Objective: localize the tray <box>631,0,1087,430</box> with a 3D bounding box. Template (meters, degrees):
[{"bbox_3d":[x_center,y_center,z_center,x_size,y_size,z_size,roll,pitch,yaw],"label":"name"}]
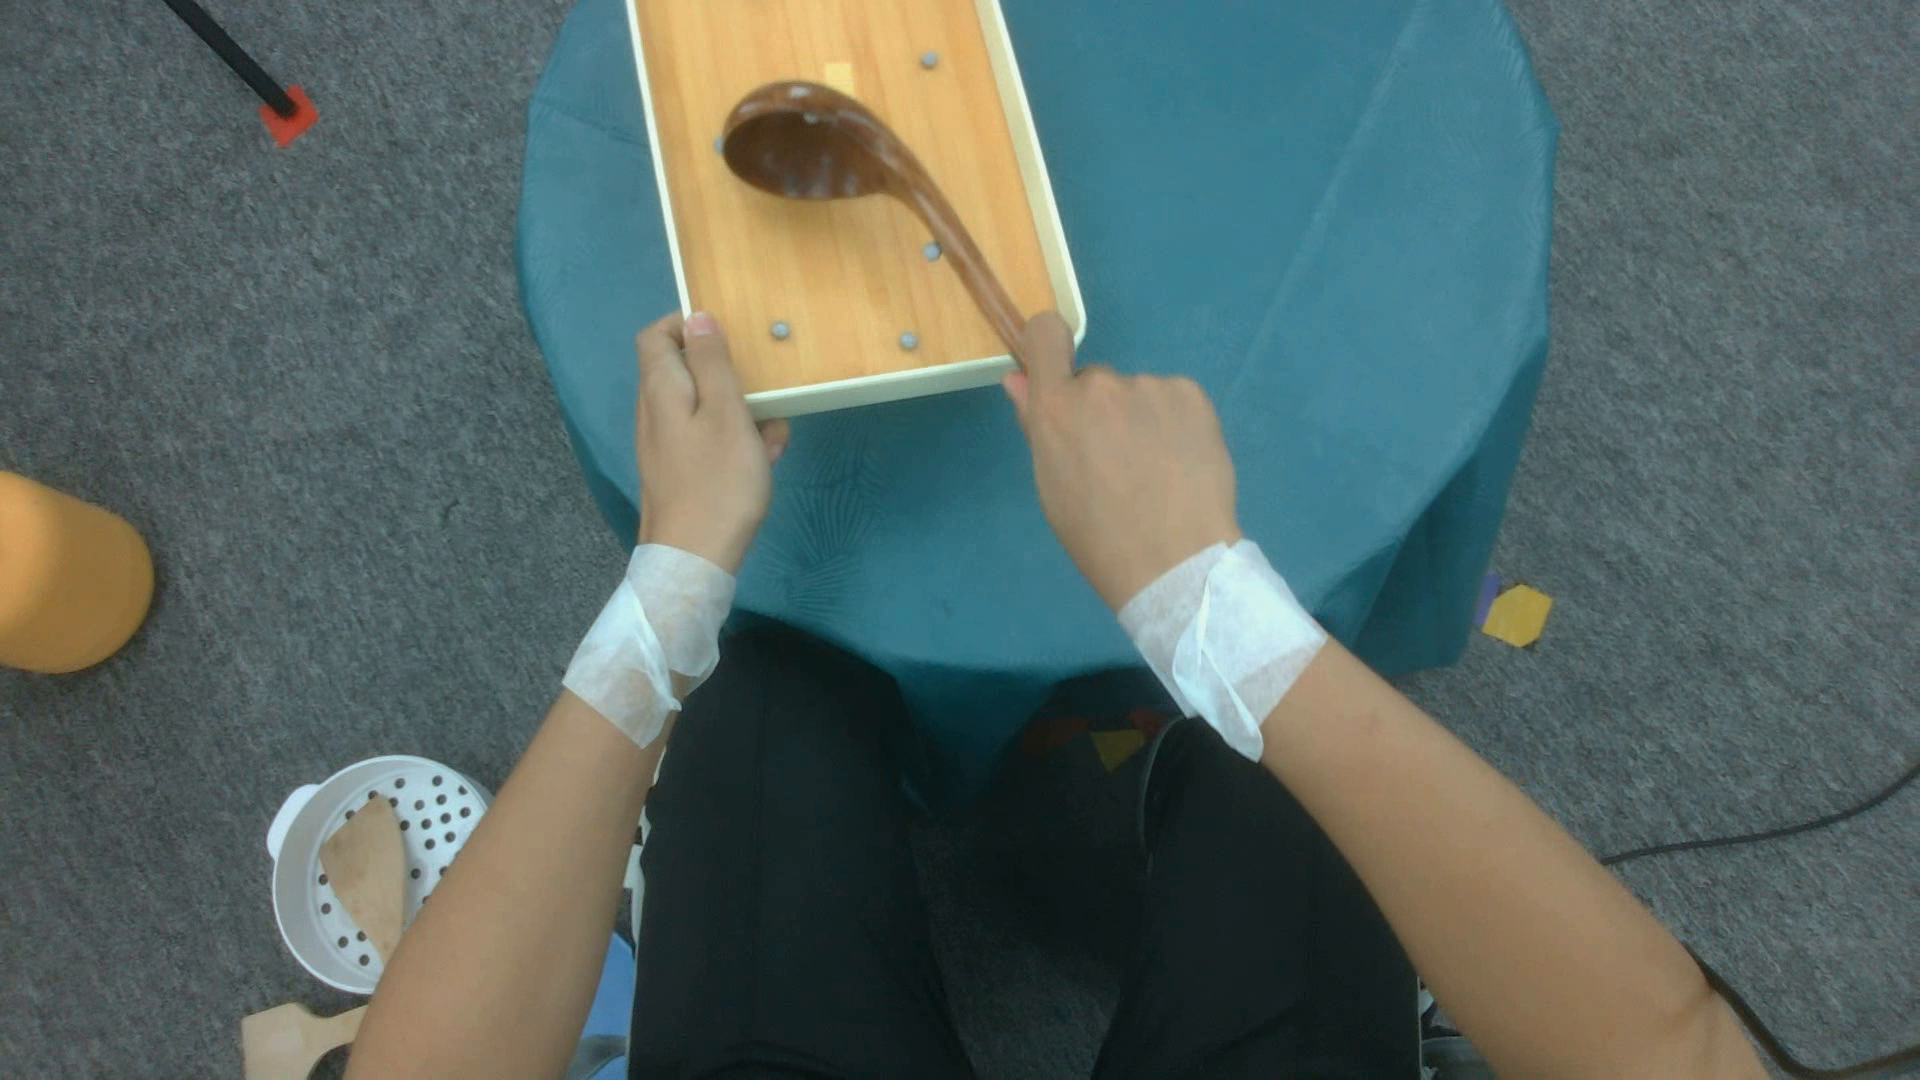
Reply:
[{"bbox_3d":[-0.060,-0.207,0.720,0.192,0.027,0.301,-10,70,-11],"label":"tray"}]

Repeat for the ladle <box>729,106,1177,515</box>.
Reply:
[{"bbox_3d":[-0.012,-0.101,0.641,0.076,0.082,0.274,-37,73,5],"label":"ladle"}]
